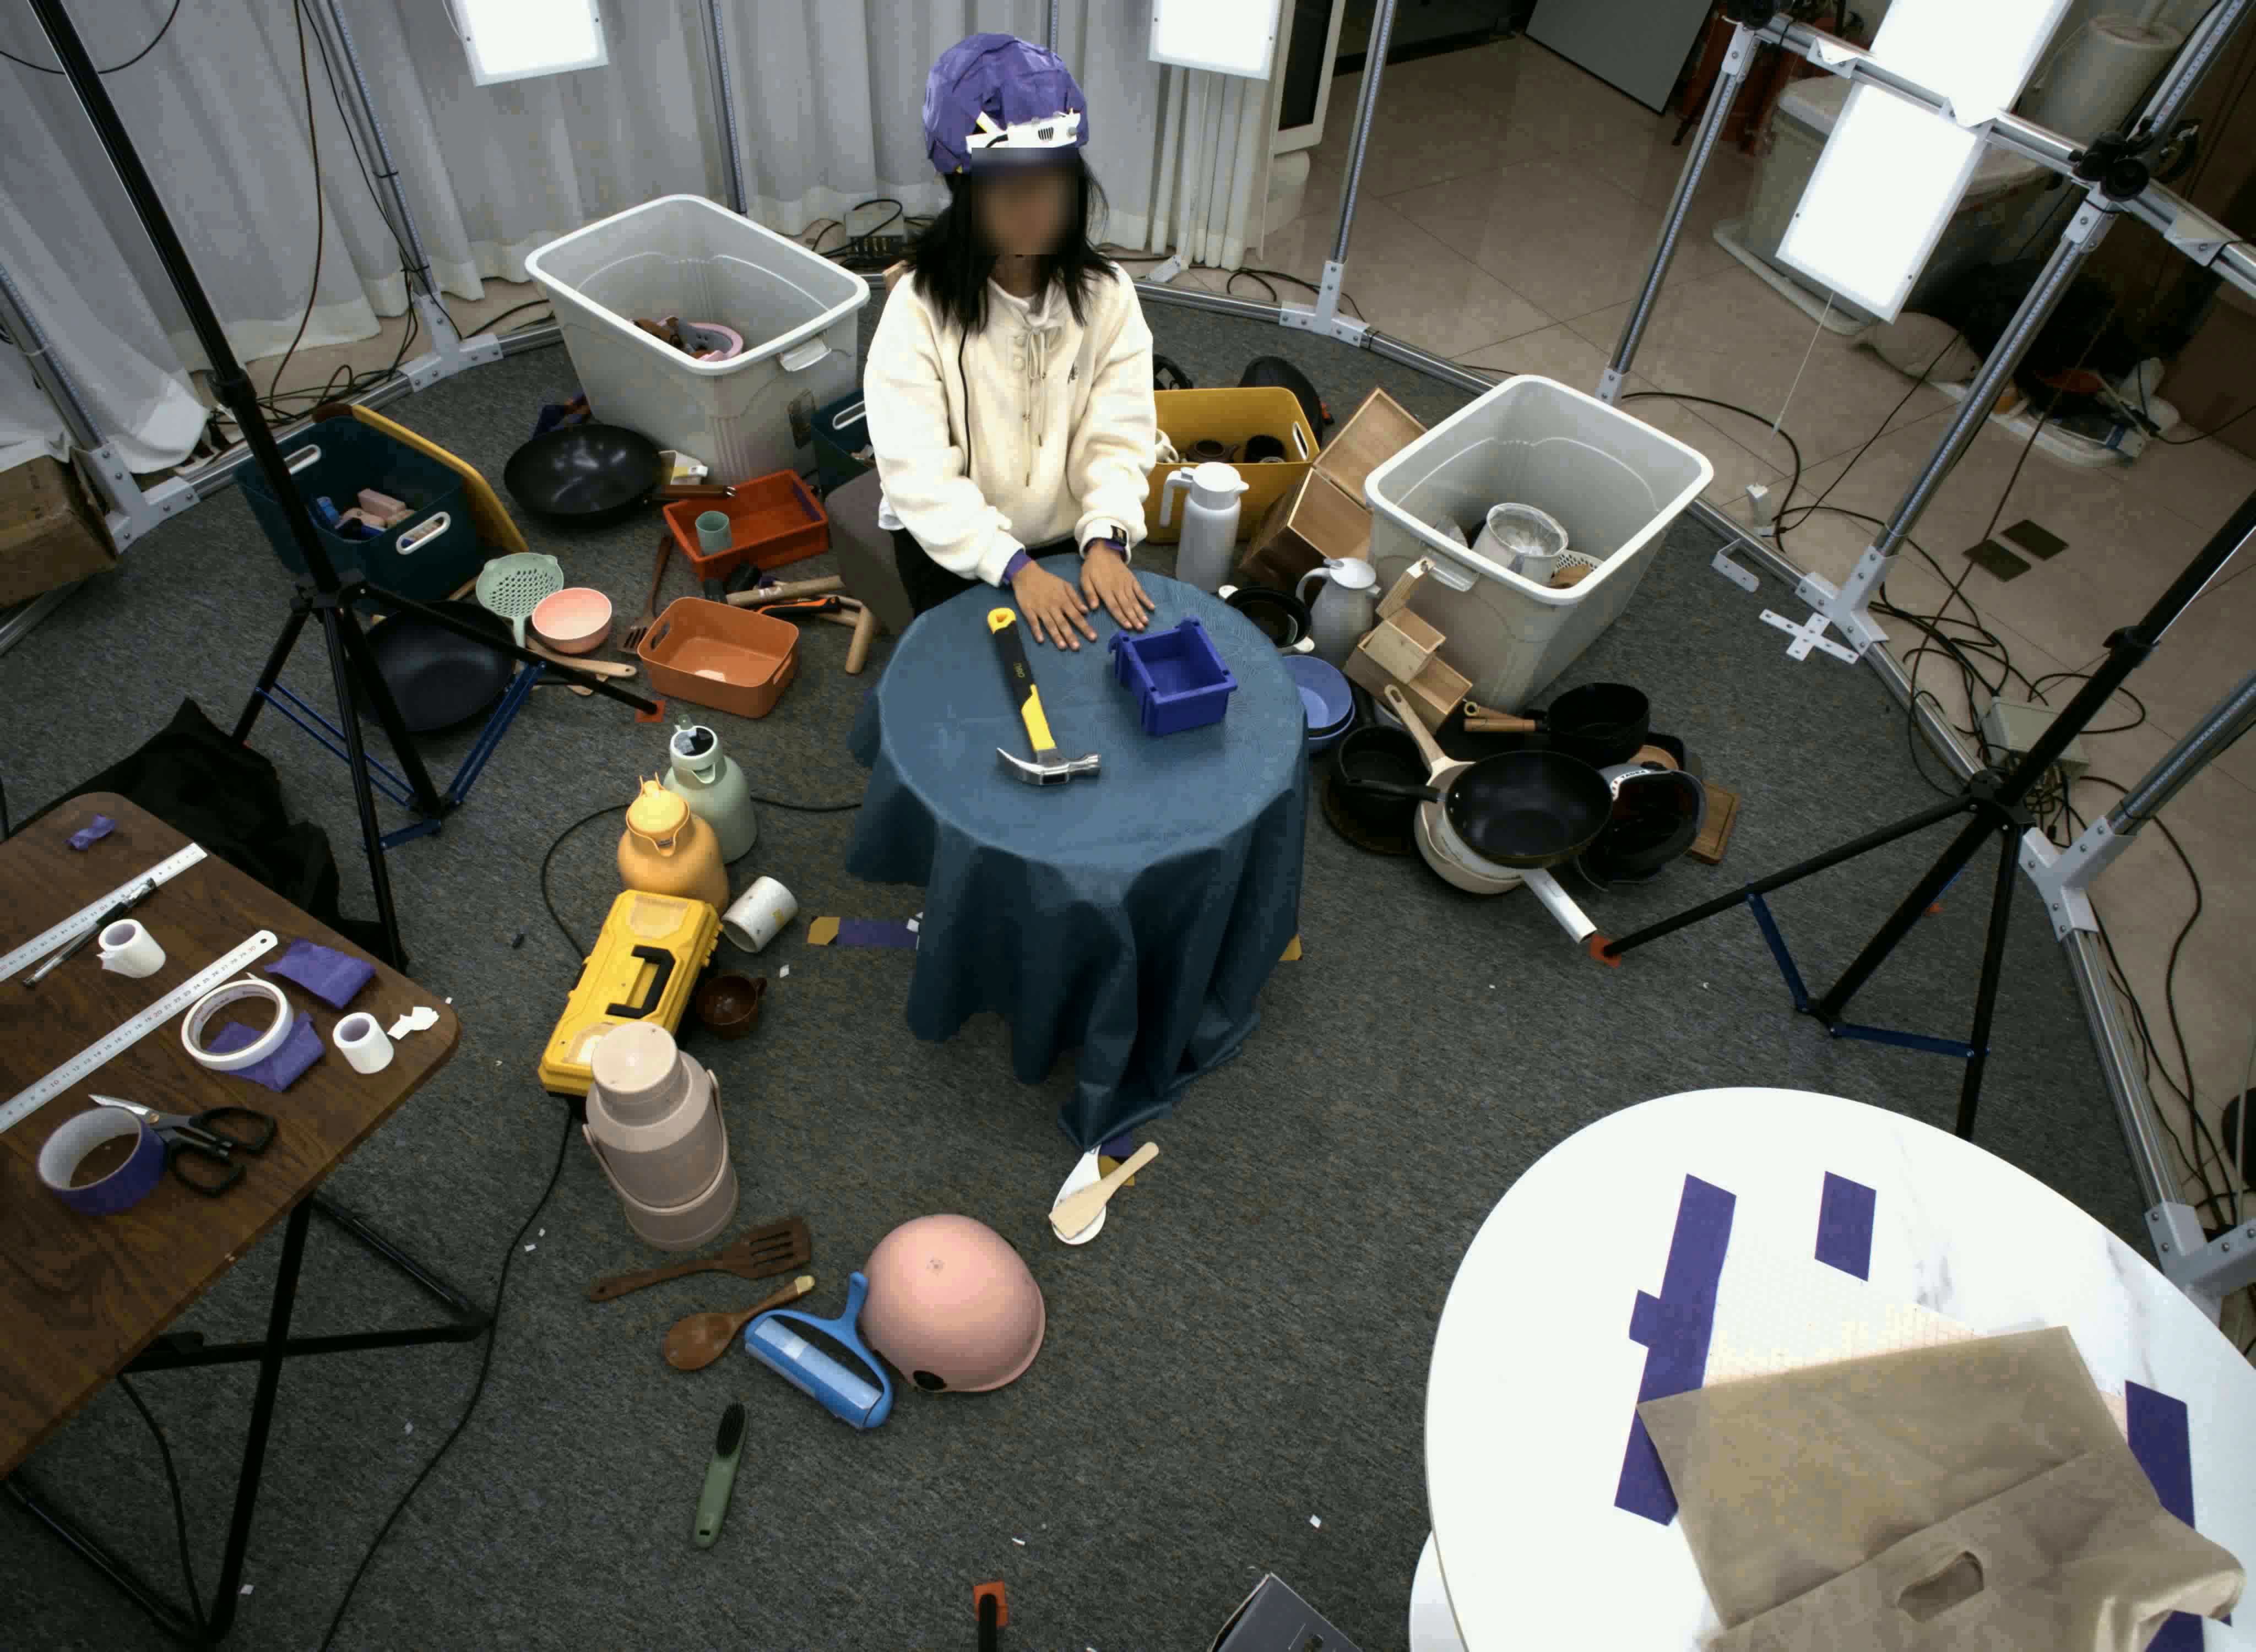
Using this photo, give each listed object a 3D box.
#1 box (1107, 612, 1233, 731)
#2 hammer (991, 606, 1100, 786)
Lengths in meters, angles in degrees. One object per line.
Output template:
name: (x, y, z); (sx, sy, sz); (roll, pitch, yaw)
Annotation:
box: (0.054, -0.224, 1.816); (0.124, 0.080, 0.183); (-13, 53, -15)
hammer: (-0.142, -0.191, 1.803); (0.131, 0.031, 0.347); (-10, 51, -10)
